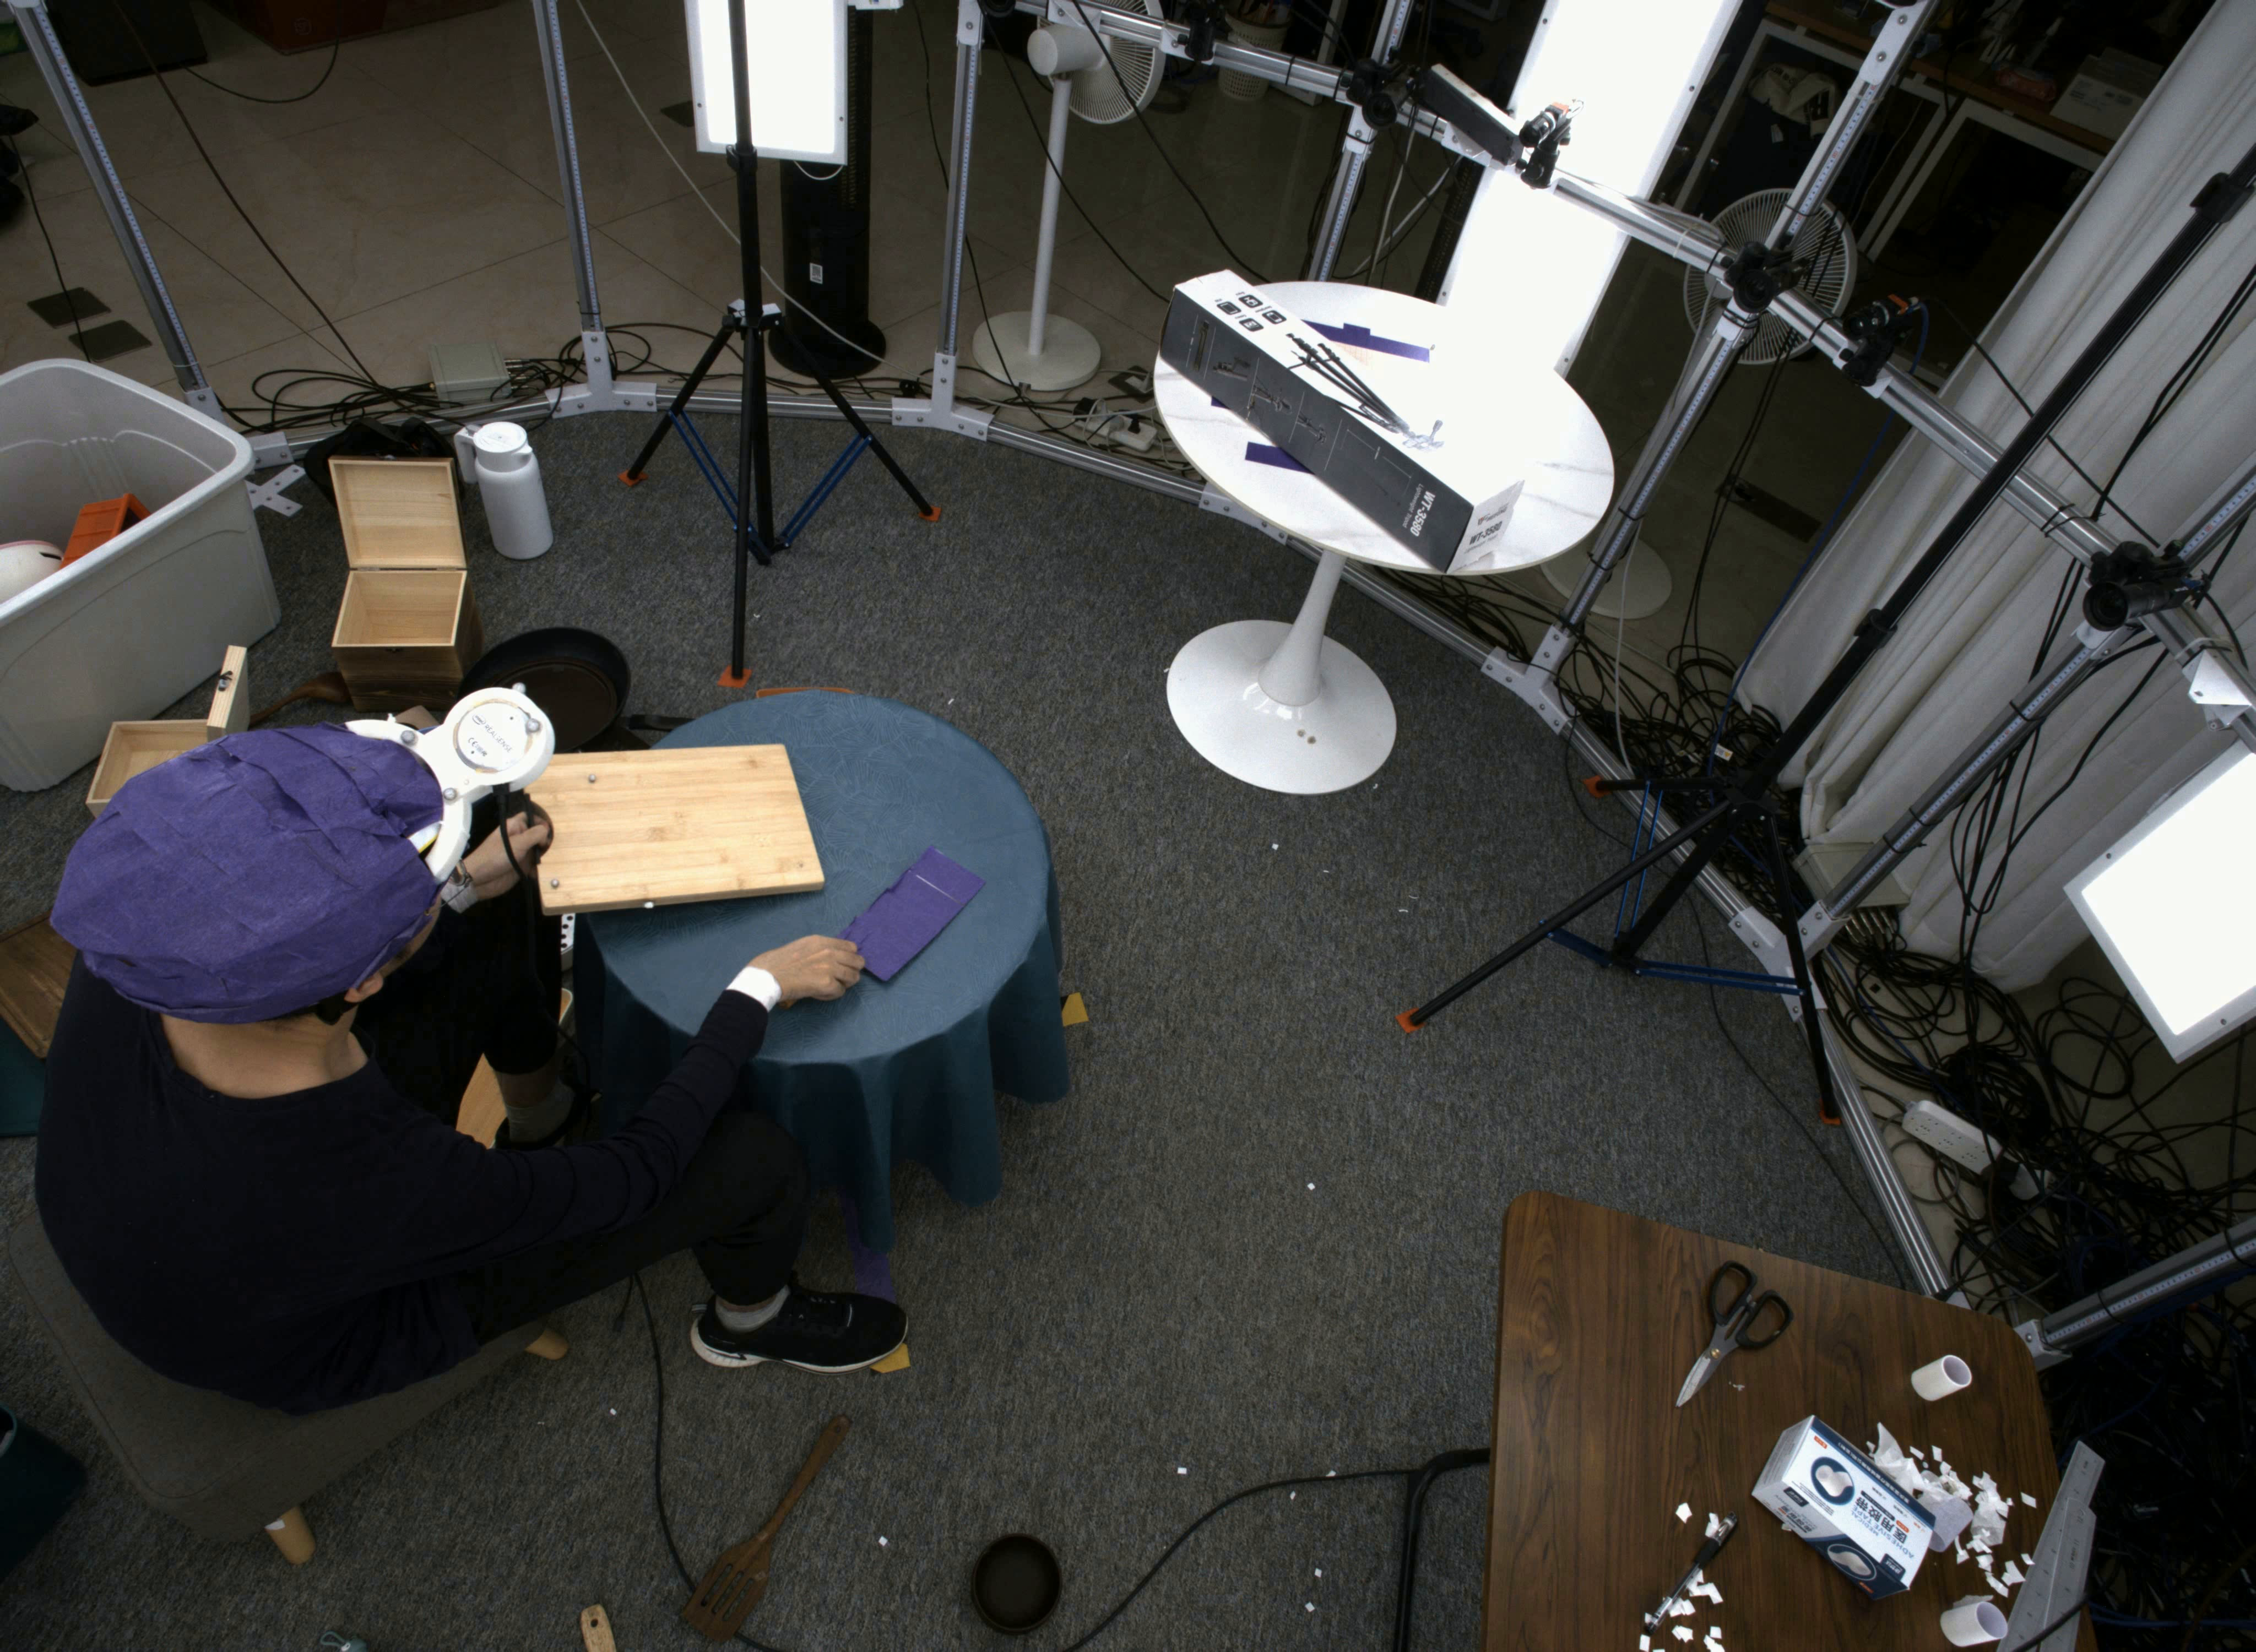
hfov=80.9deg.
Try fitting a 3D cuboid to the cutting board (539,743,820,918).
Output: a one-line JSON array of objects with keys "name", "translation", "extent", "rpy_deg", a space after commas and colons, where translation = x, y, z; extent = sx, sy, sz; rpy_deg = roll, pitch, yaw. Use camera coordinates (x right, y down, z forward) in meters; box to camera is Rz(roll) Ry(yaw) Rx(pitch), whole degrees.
[{"name": "cutting board", "translation": [-0.585, -0.004, 1.644], "extent": [0.353, 0.024, 0.244], "rpy_deg": [-6, 55, -31]}]

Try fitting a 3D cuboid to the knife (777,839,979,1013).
[{"name": "knife", "translation": [-0.307, 0.134, 1.648], "extent": [0.102, 0.033, 0.314], "rpy_deg": [33, 53, 10]}]
